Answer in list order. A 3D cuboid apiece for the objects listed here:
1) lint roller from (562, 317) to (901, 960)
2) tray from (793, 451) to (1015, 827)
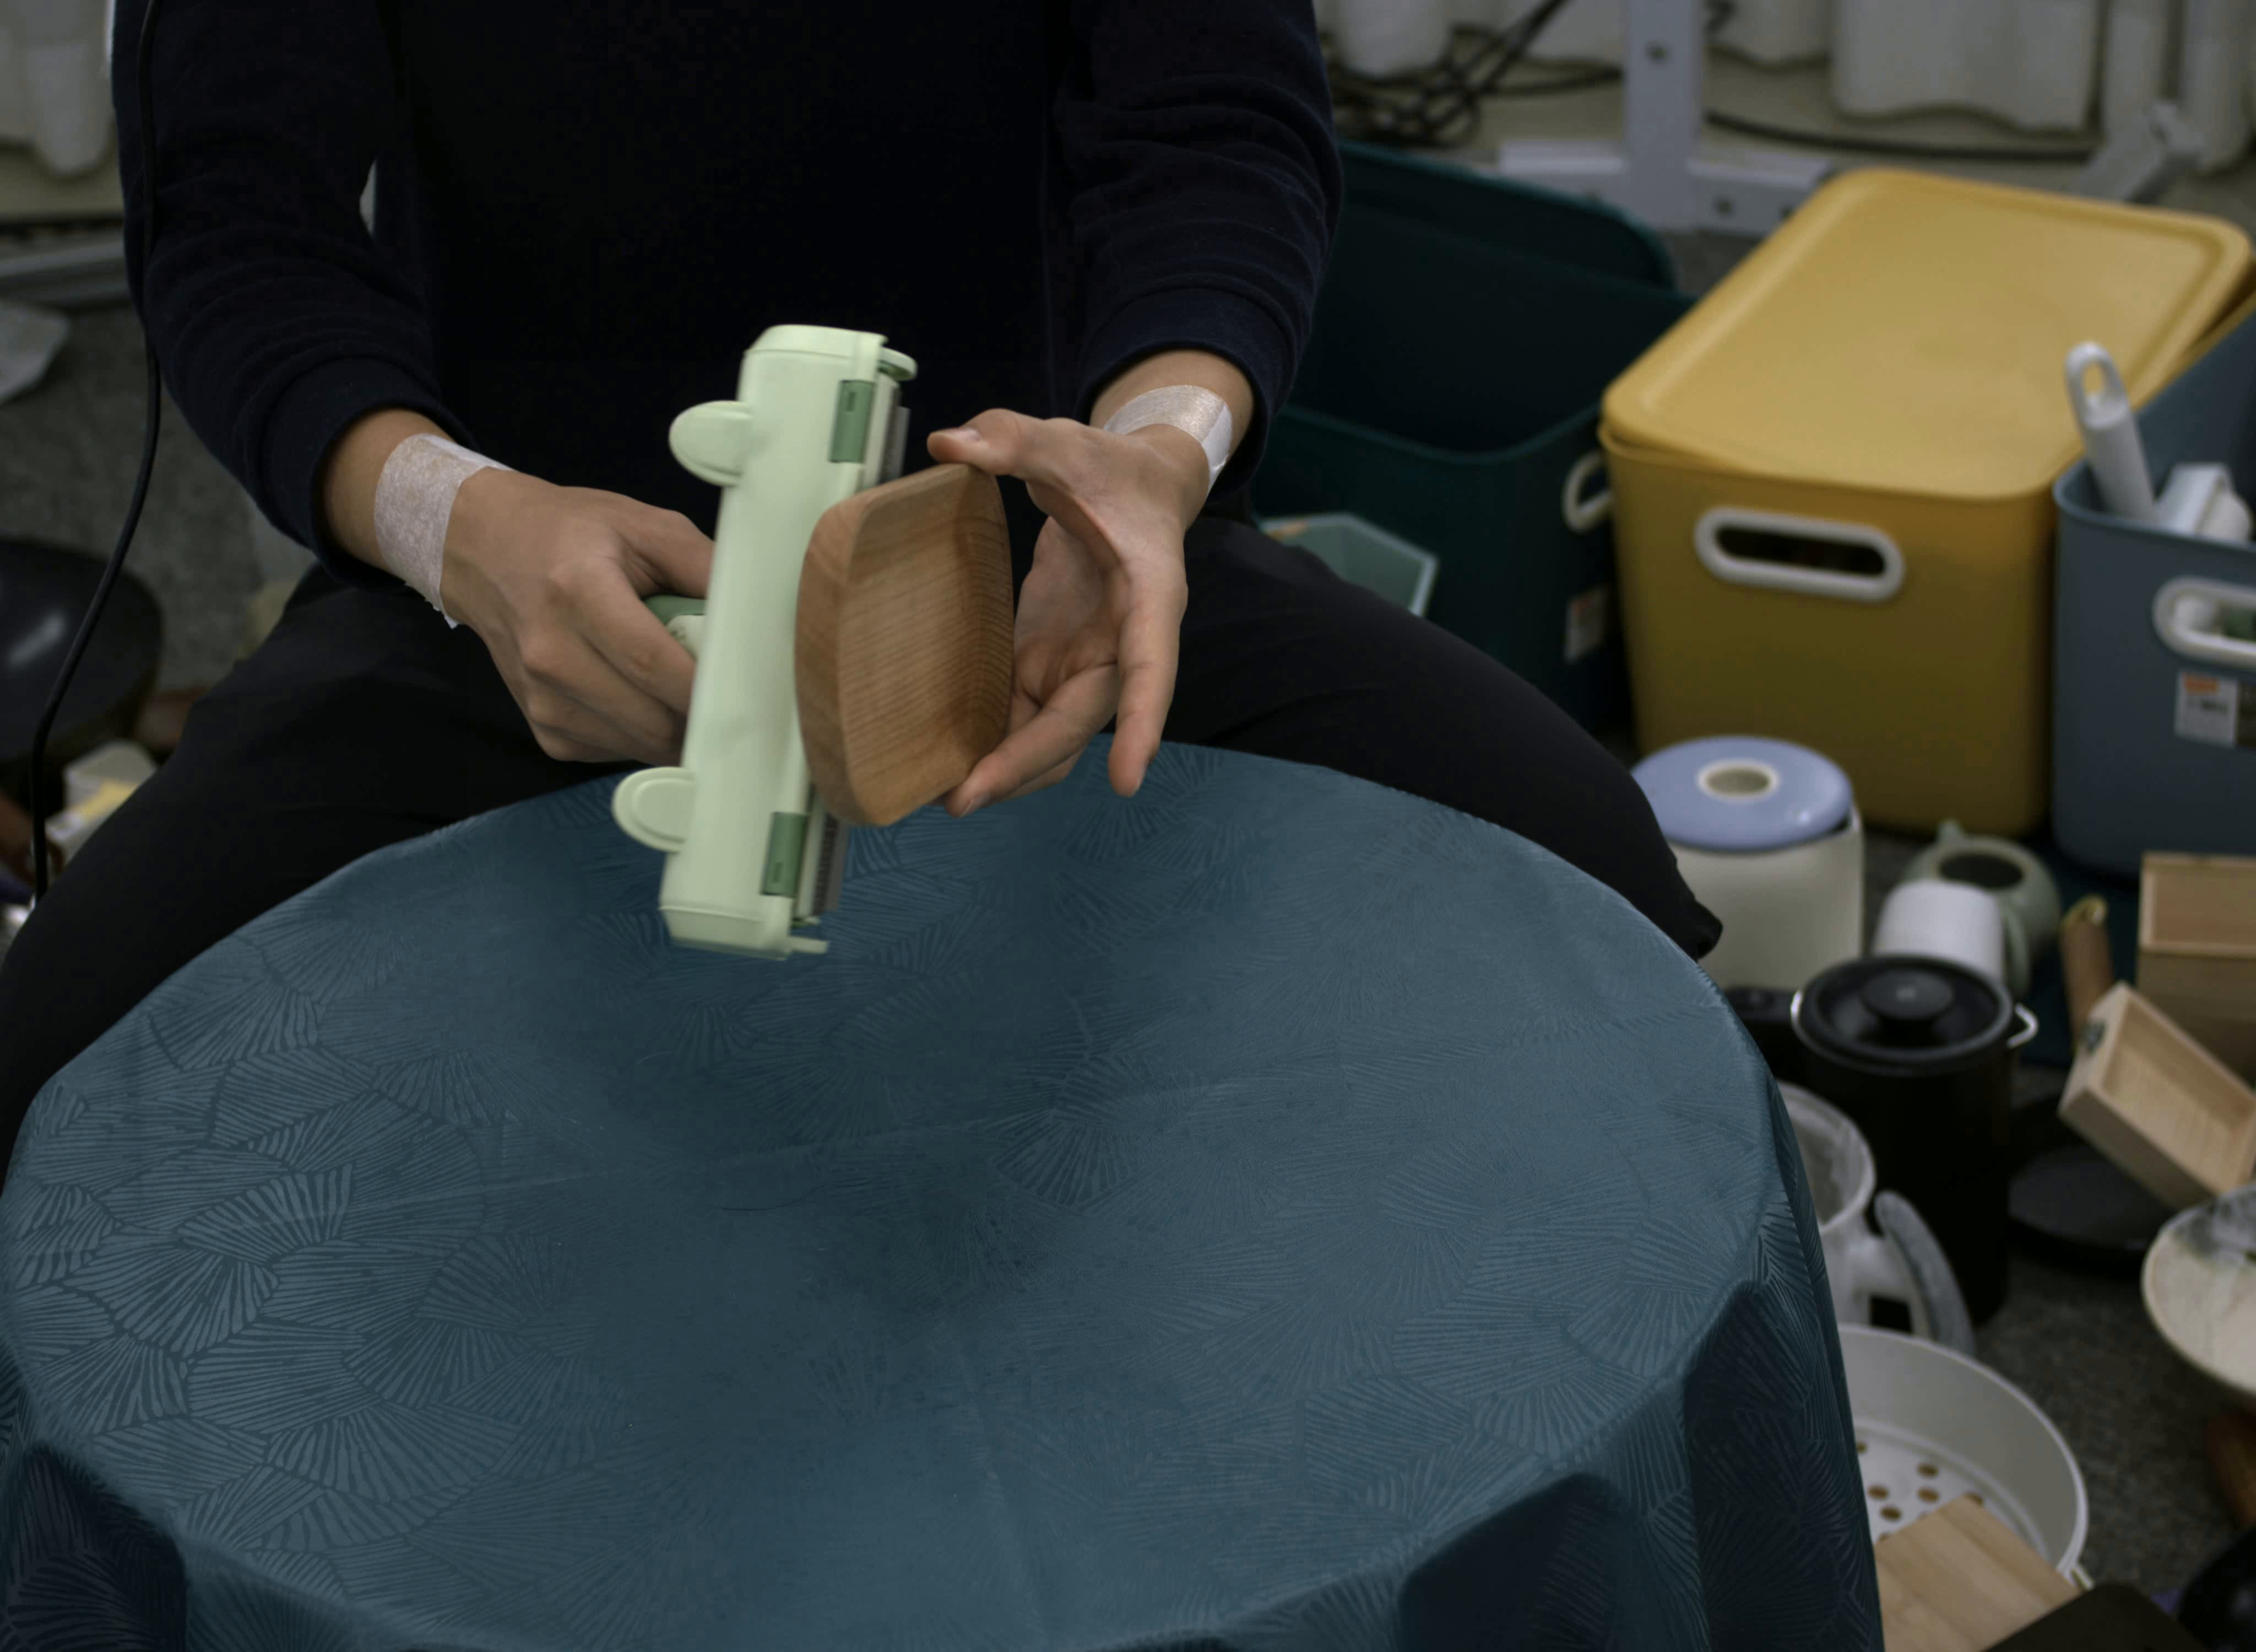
[{"bbox_3d":[-0.150,-0.061,1.791,0.082,0.200,0.182,14,-8,-39],"label":"lint roller"},{"bbox_3d":[-0.068,-0.060,1.756,0.020,0.101,0.233,0,8,11],"label":"tray"}]
